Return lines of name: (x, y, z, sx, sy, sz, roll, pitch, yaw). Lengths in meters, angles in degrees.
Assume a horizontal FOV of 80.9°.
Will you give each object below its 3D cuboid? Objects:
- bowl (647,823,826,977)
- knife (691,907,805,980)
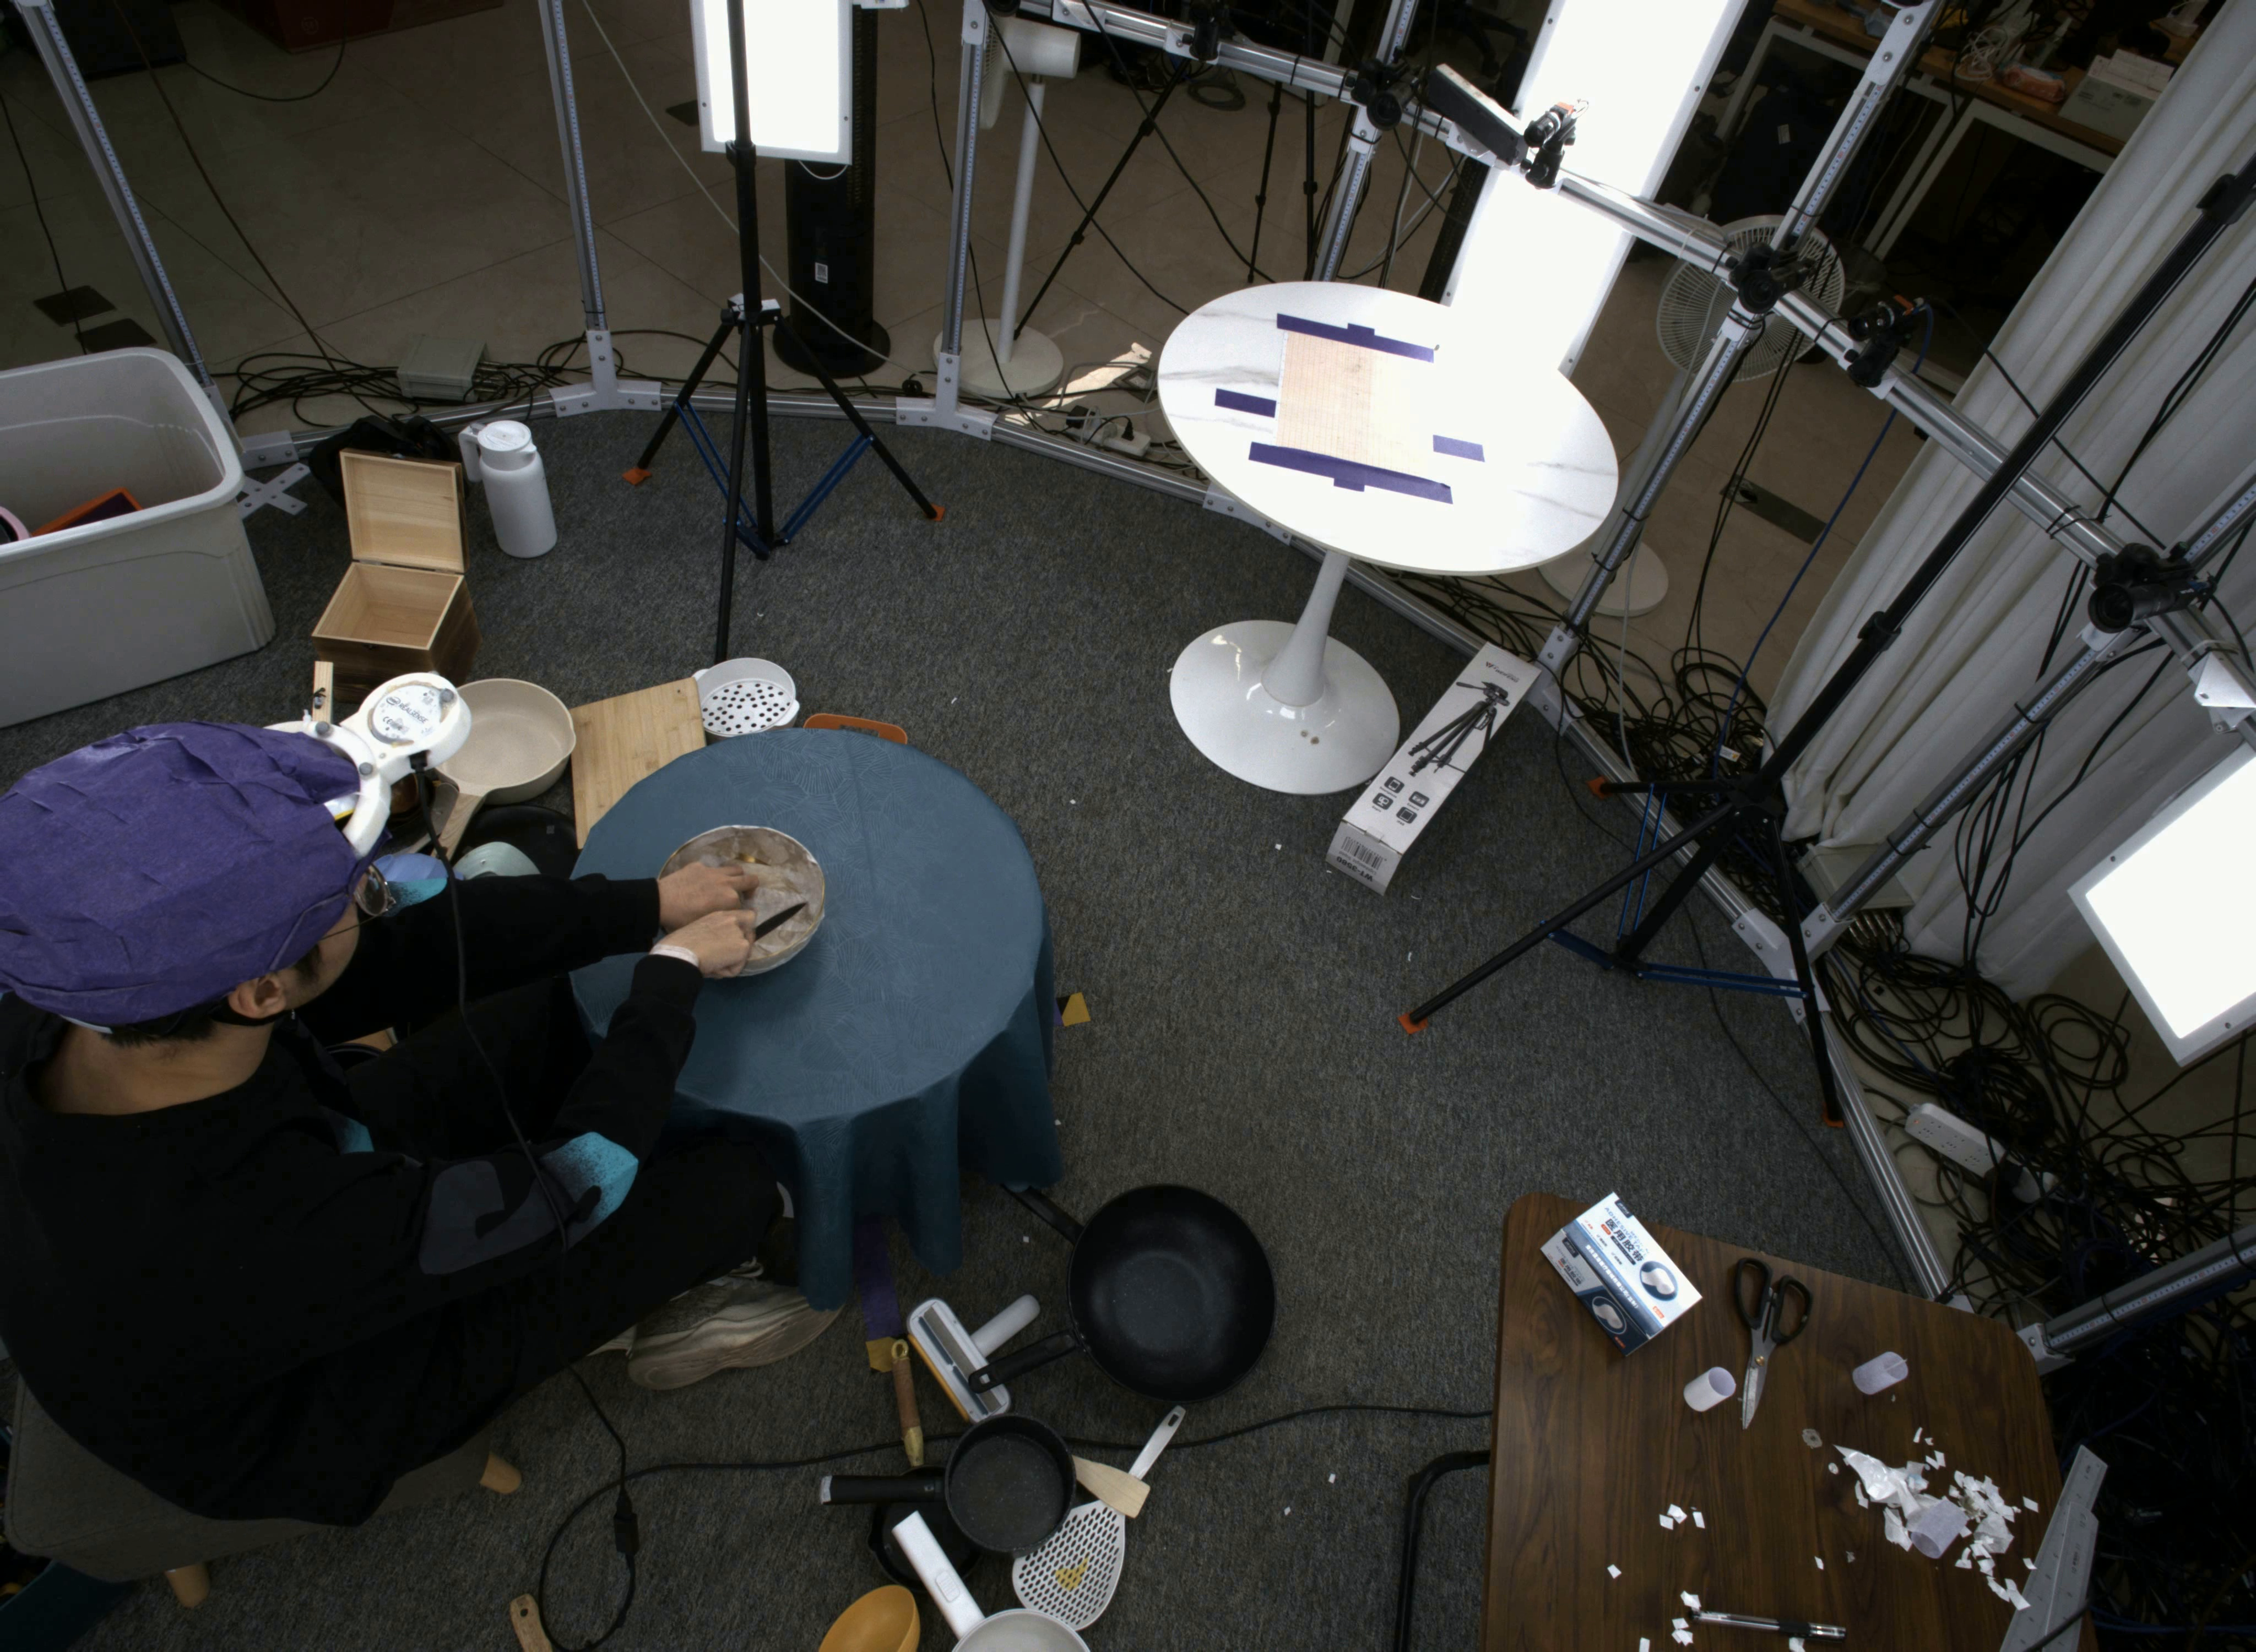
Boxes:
bowl: (-0.472, 0.104, 1.560, 0.214, 0.096, 0.211, 9, 51, -10)
knife: (-0.438, 0.128, 1.510, 0.017, 0.027, 0.225, 24, 23, 11)
